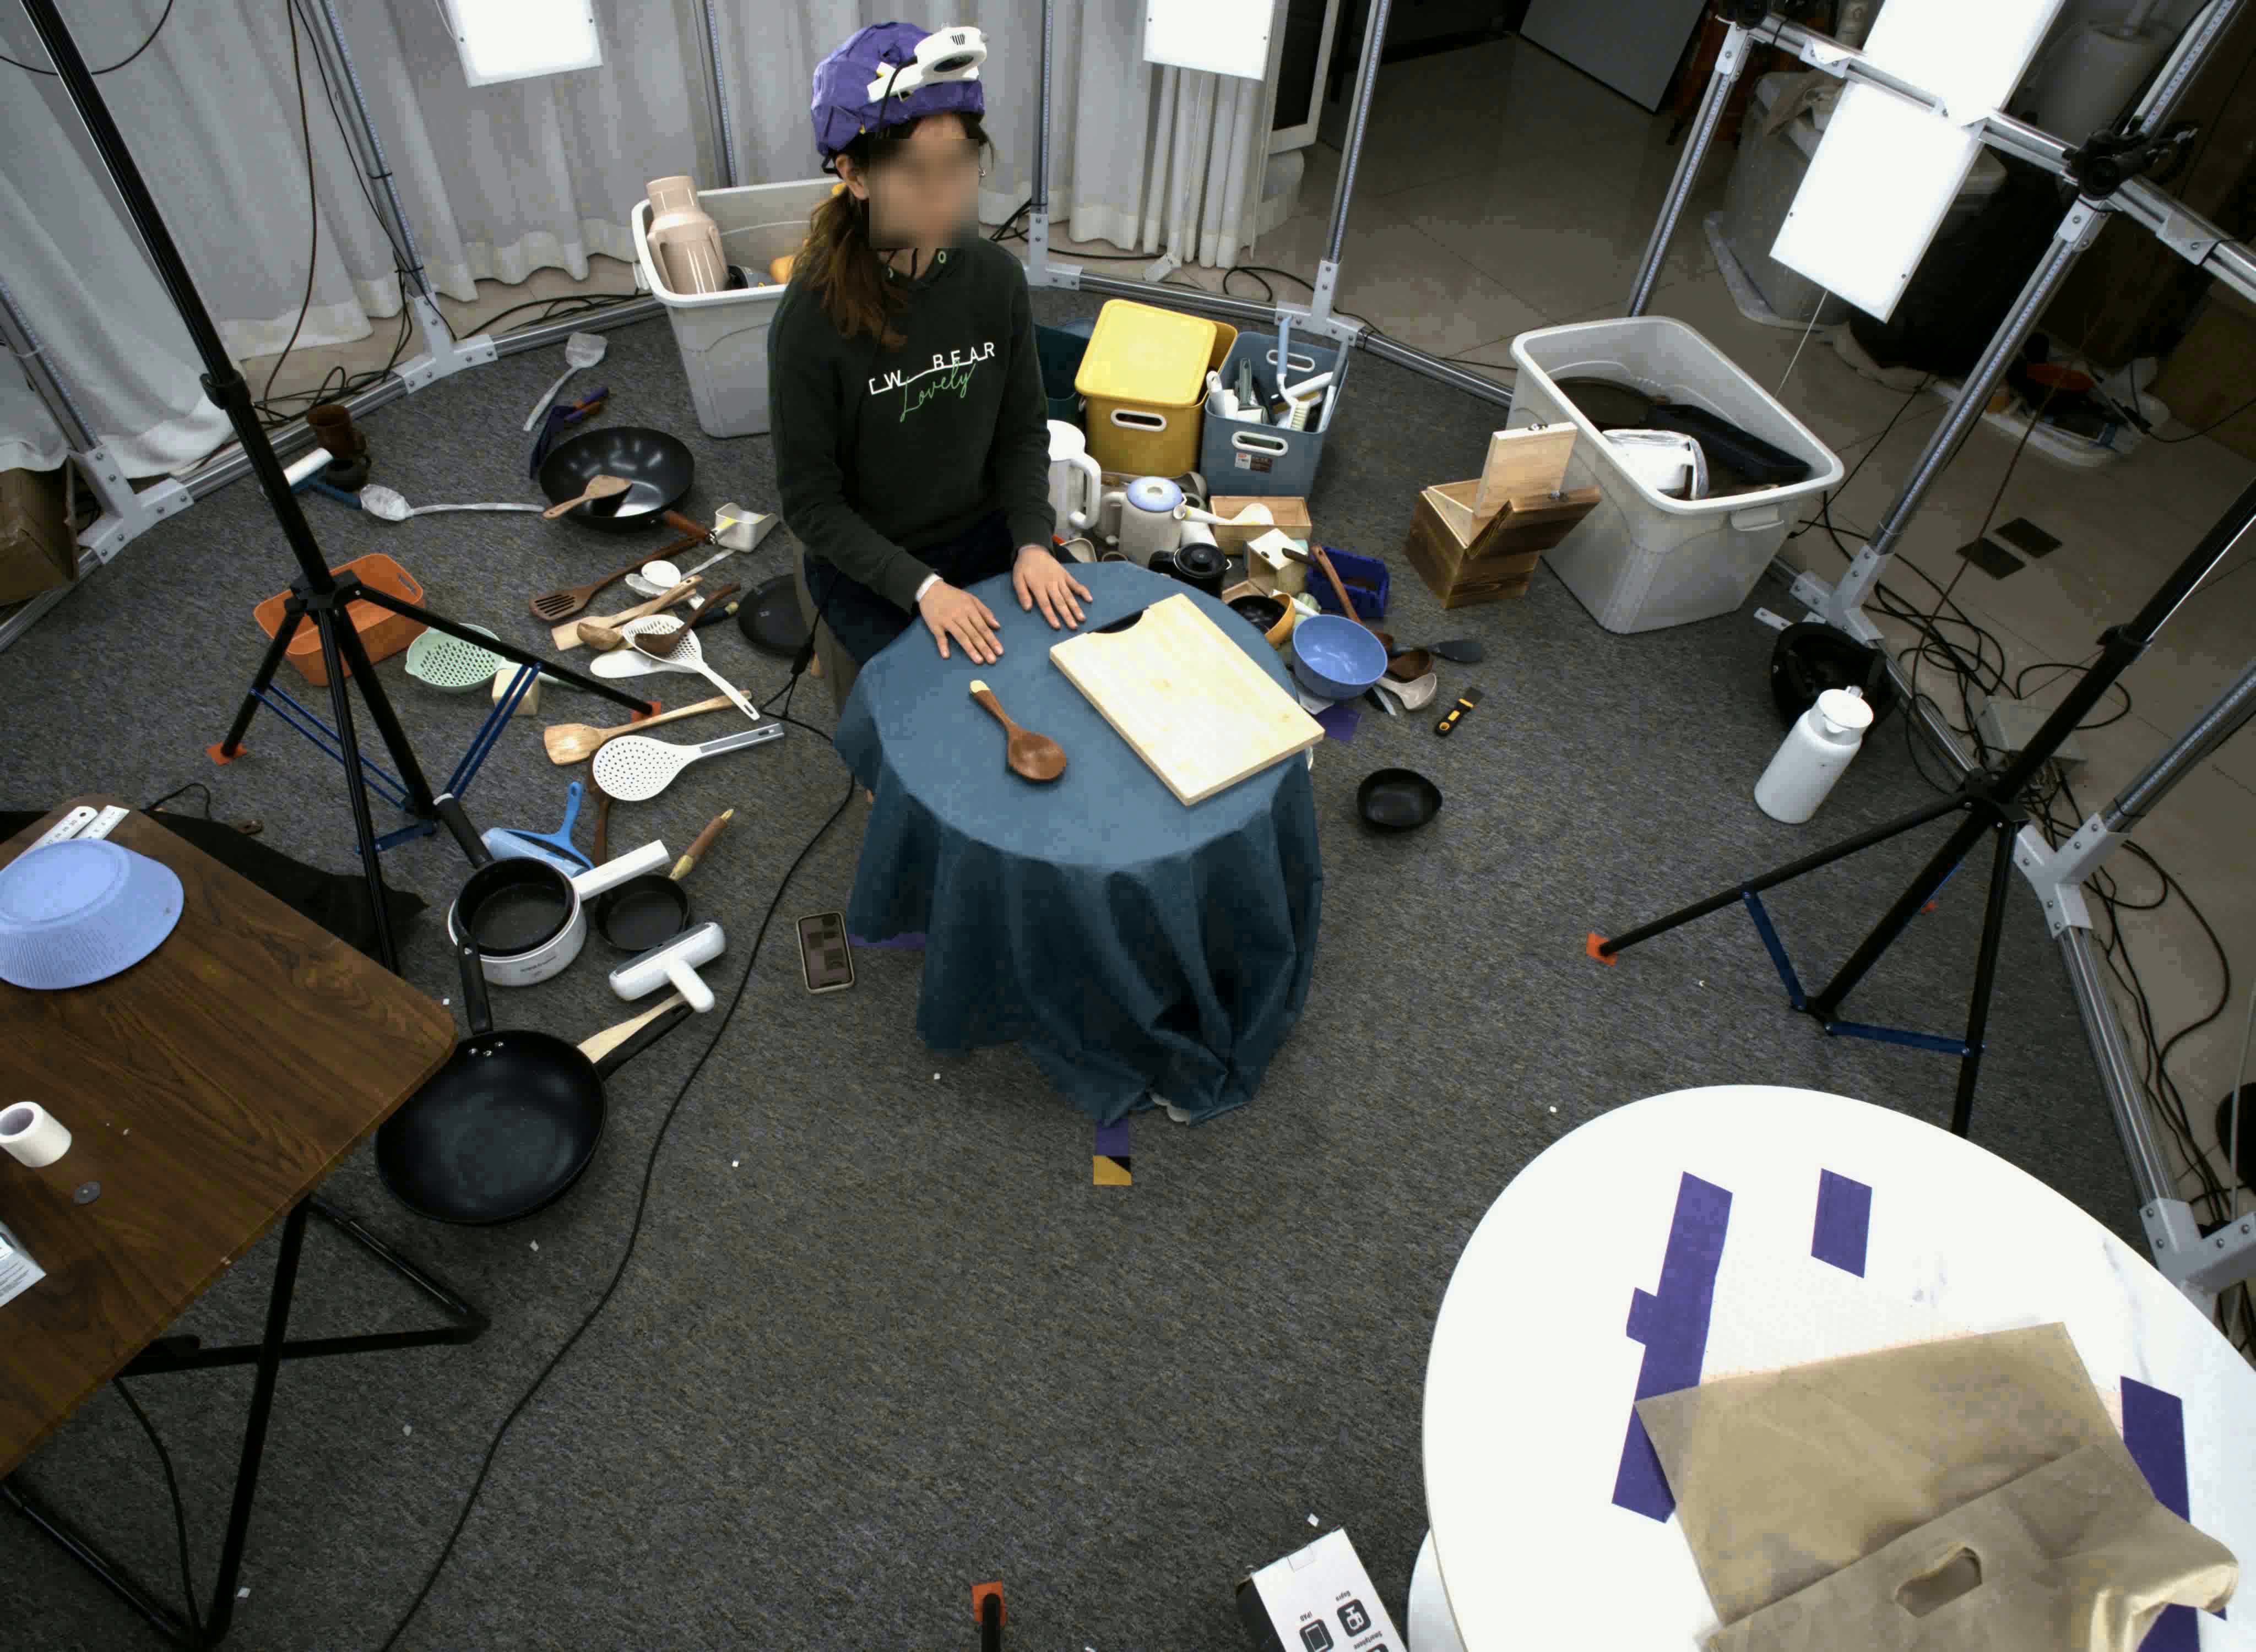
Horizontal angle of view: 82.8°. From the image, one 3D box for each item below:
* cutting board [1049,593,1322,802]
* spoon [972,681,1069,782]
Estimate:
[{"bbox_3d":[0.078,-0.194,1.848,0.252,0.023,0.355,-26,55,-25],"label":"cutting board"},{"bbox_3d":[-0.156,-0.132,1.777,0.076,0.017,0.220,-25,55,-22],"label":"spoon"}]
